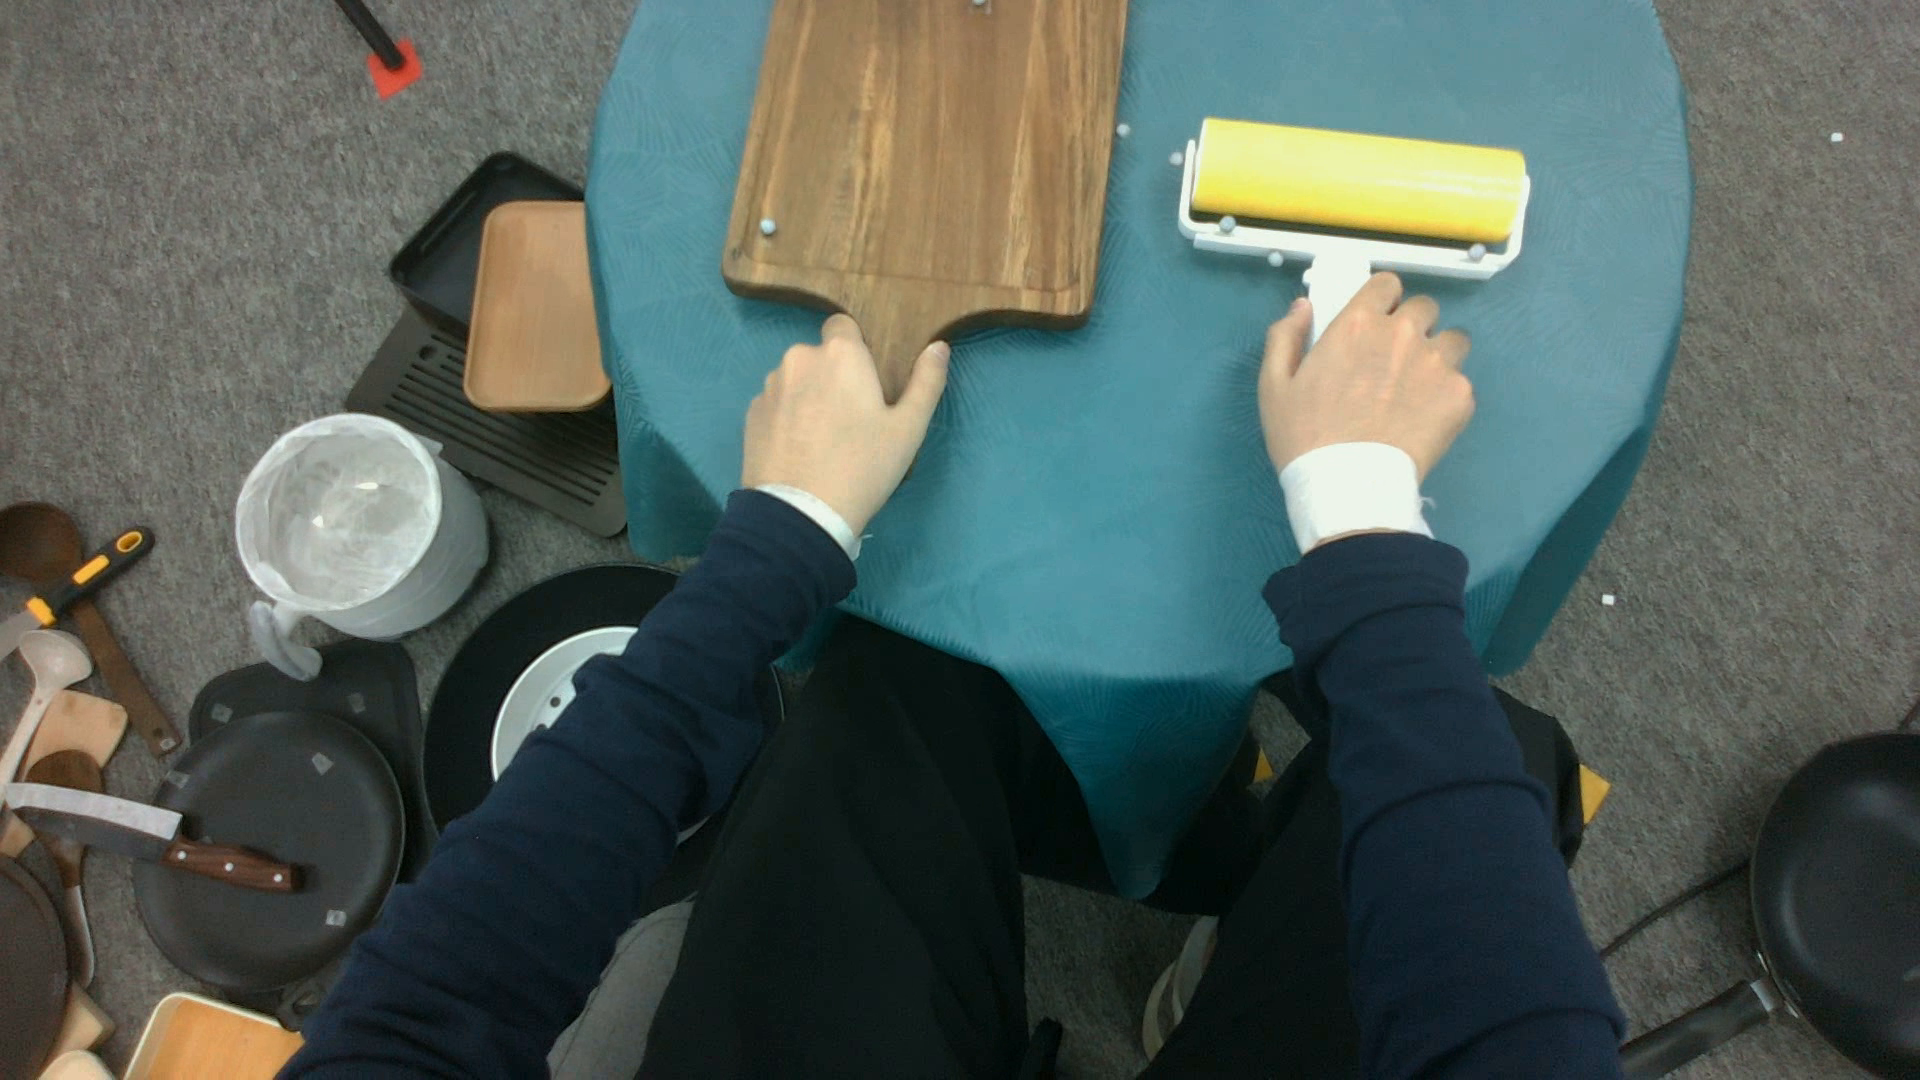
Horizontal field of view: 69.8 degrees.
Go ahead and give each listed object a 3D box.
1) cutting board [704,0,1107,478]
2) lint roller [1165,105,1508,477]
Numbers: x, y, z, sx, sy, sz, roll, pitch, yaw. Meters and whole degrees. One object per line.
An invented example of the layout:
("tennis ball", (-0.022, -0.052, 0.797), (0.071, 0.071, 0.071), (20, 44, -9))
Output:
("cutting board", (-0.029, -0.200, 0.738), (0.201, 0.023, 0.353), (6, 72, 4))
("lint roller", (0.188, -0.130, 0.704), (0.174, 0.051, 0.192), (6, 71, 5))
